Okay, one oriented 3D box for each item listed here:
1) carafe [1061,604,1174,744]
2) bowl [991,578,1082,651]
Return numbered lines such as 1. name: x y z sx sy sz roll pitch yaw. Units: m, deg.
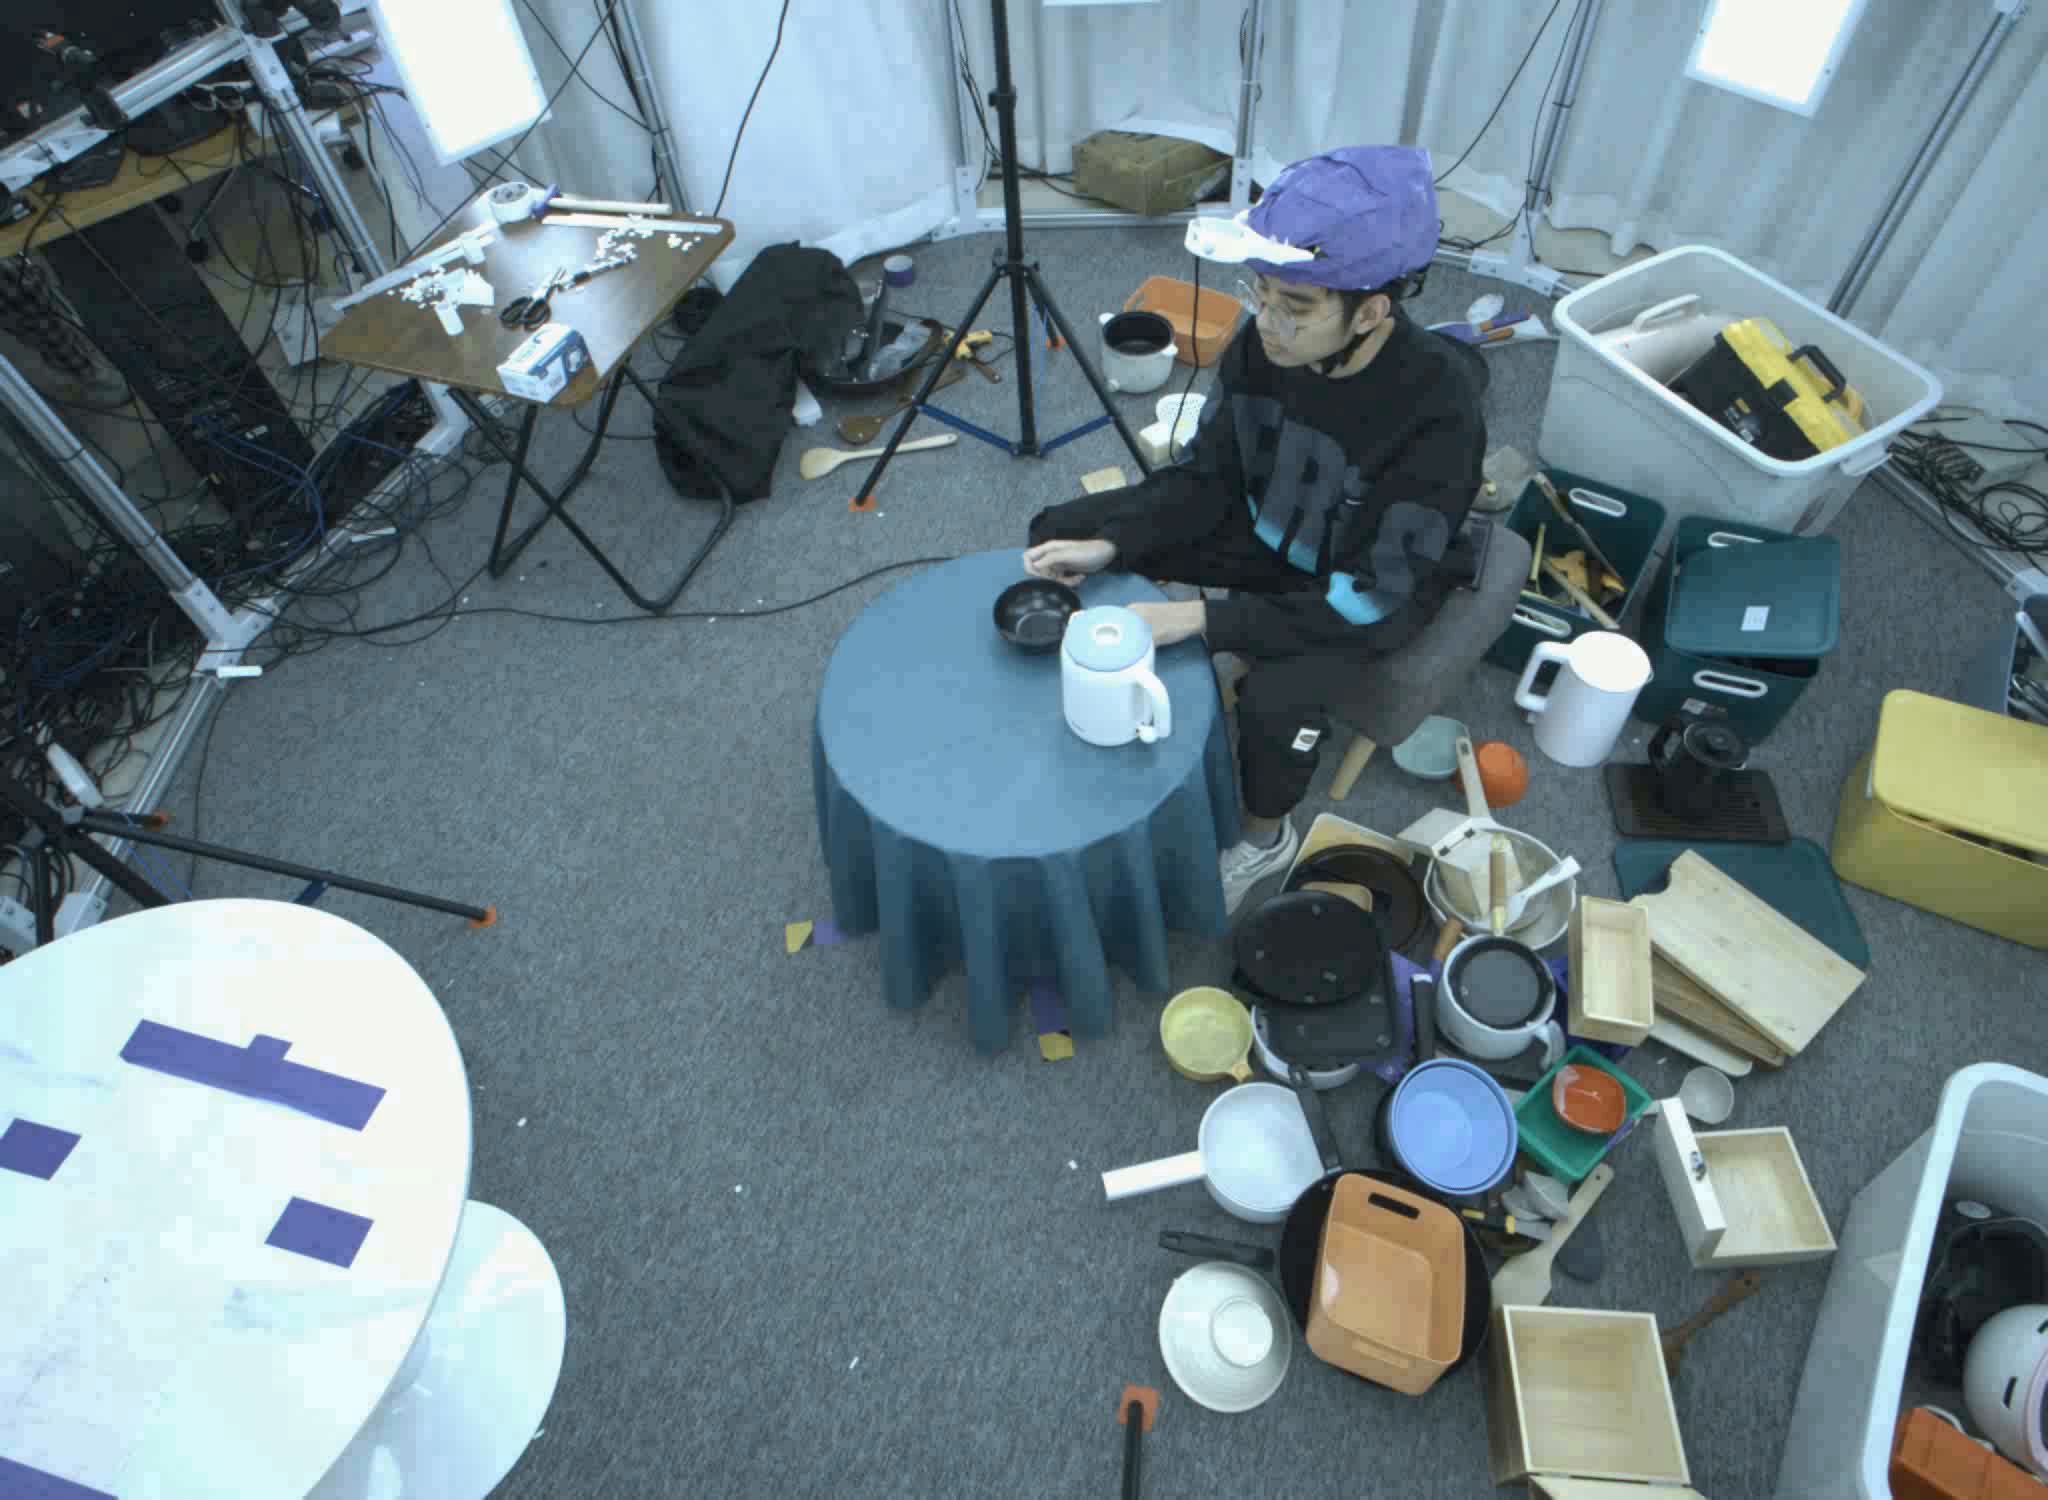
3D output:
1. carafe: 0.137 -0.092 1.739 0.133 0.184 0.188 -41 64 -21
2. bowl: 0.020 -0.200 1.894 0.140 0.050 0.138 0 53 1
